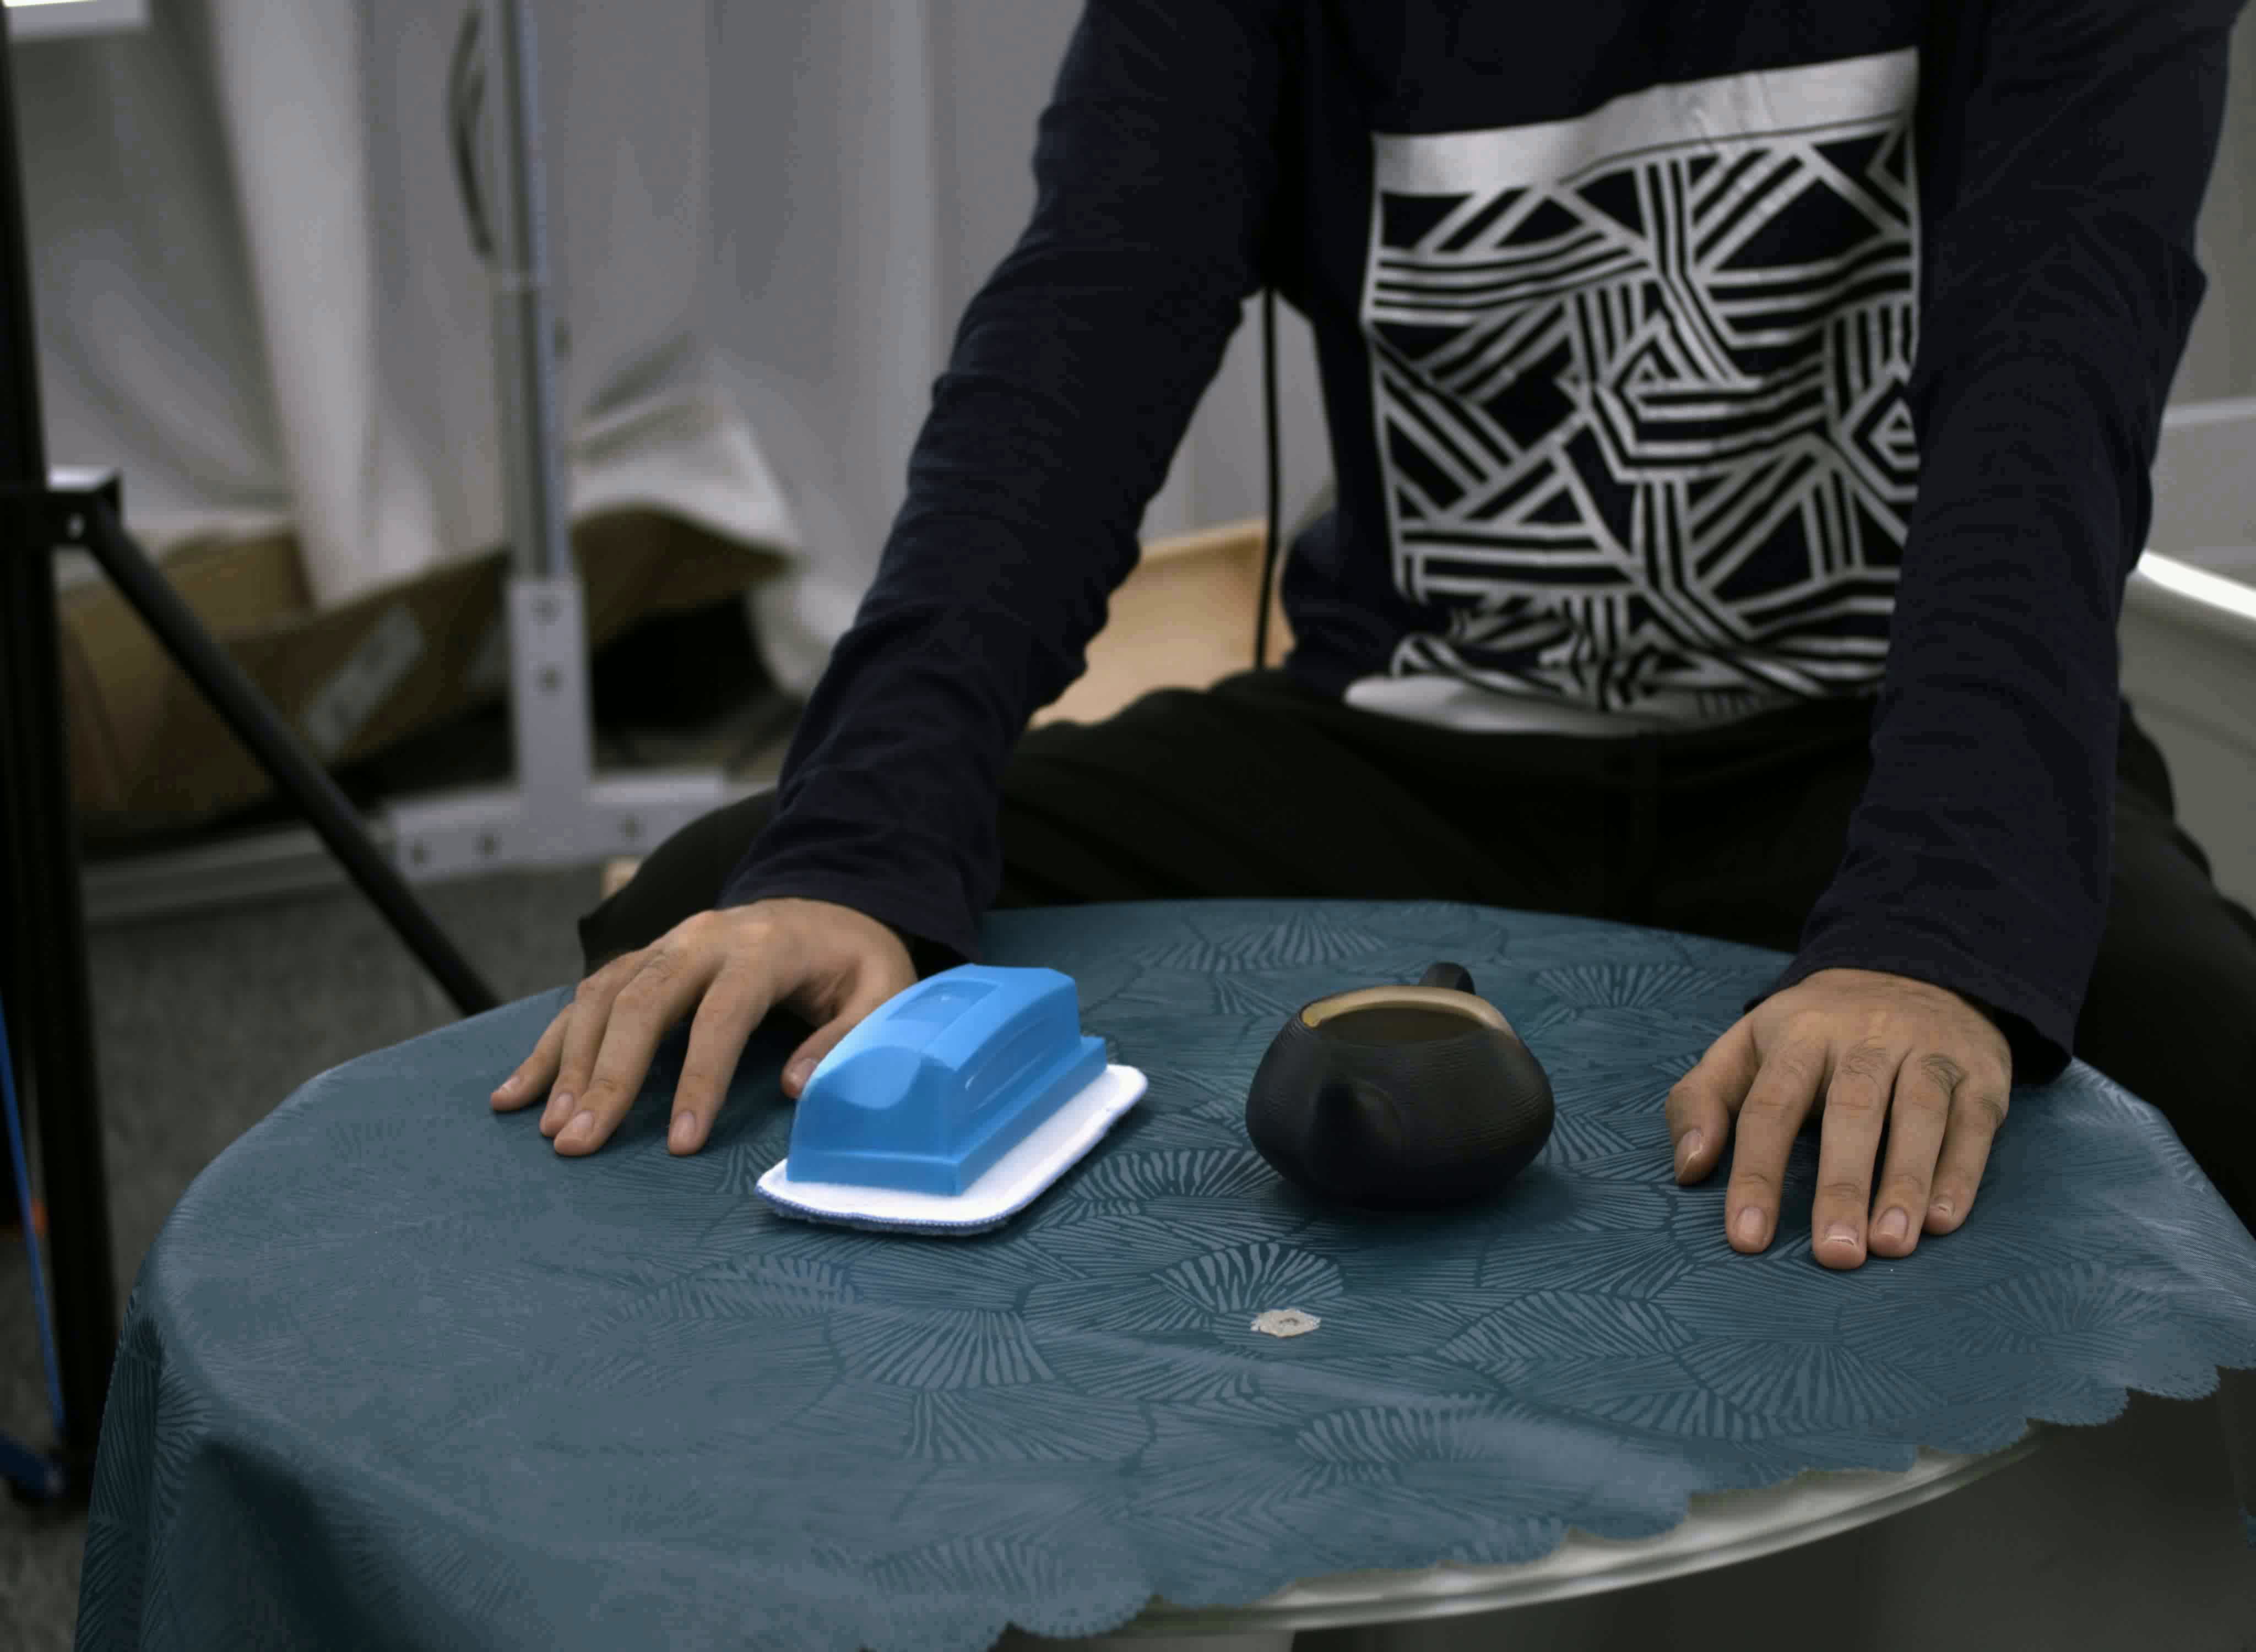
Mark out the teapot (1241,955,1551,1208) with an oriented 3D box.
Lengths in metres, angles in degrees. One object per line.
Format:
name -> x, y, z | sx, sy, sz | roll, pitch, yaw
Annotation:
teapot -> 0.079, 0.078, 1.551 | 0.092, 0.053, 0.131 | 5, 18, 21

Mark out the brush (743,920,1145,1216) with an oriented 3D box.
brush -> -0.053, 0.068, 1.595 | 0.085, 0.056, 0.142 | 8, 22, 22
